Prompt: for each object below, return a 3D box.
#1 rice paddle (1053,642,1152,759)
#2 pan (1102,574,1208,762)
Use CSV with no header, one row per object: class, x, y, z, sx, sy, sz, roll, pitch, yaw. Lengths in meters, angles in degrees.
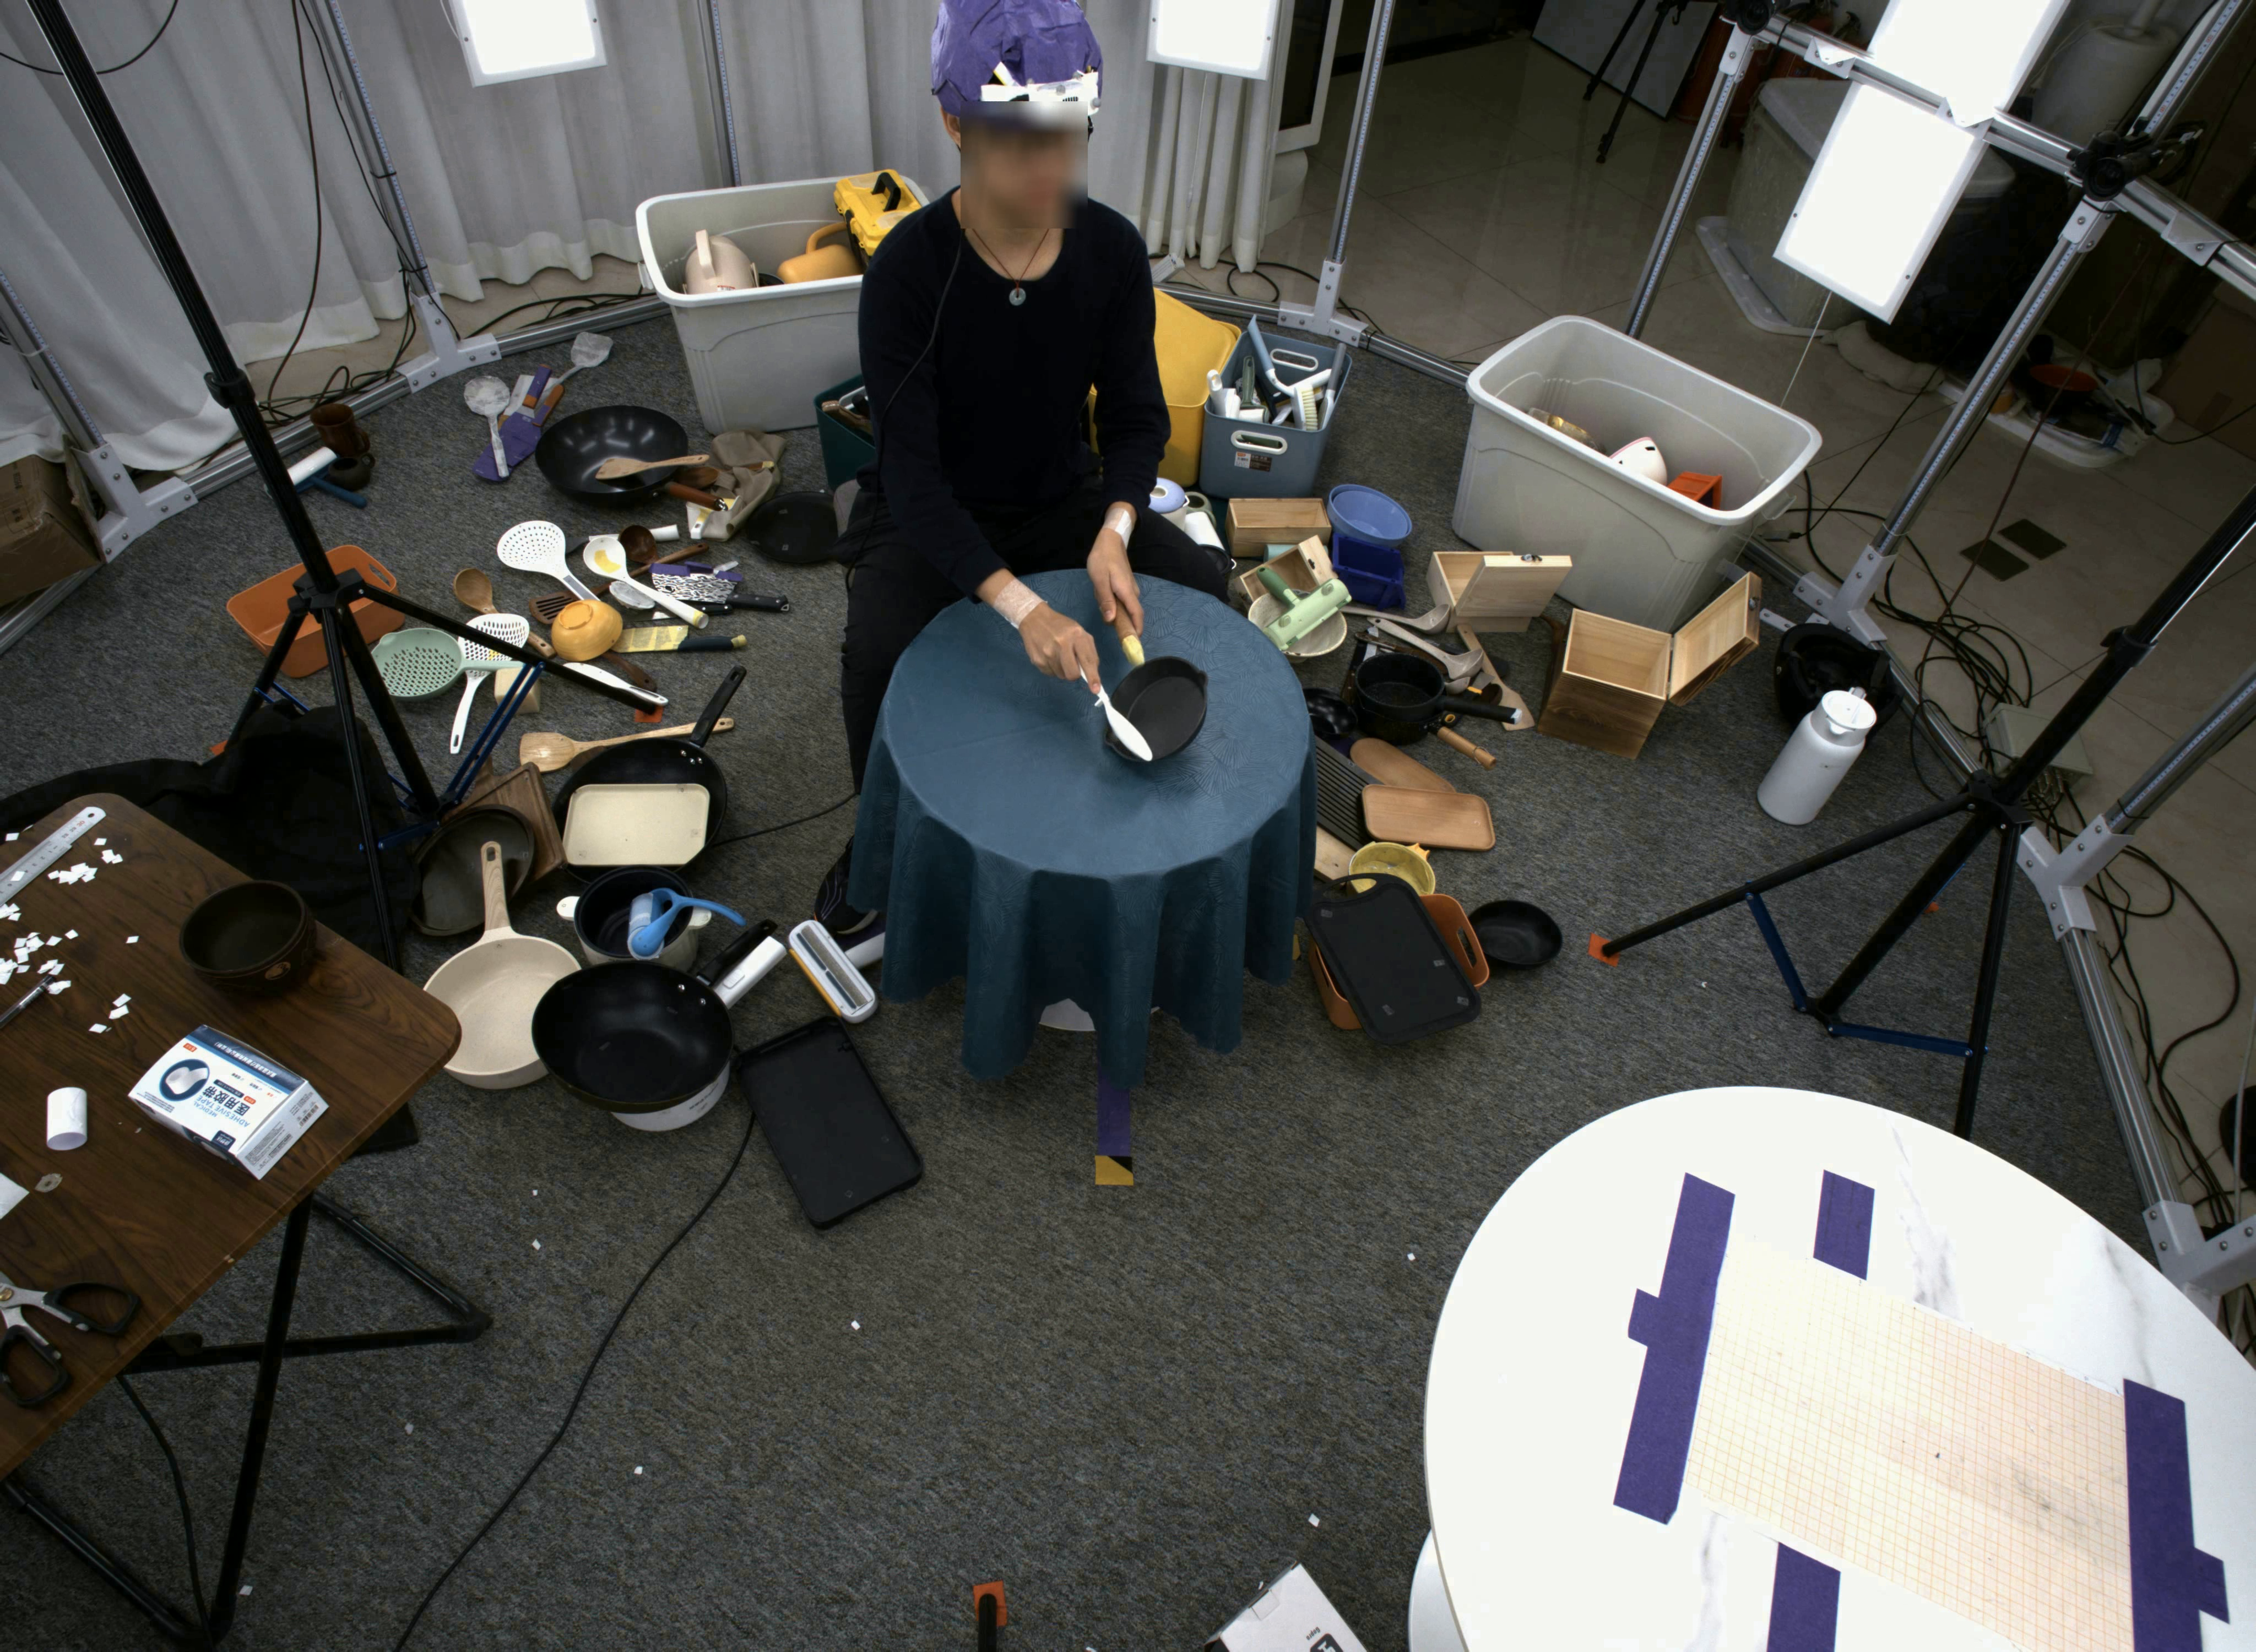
rice paddle,-0.030,-0.166,1.721,0.208,0.029,0.068,52,20,22
pan,0.019,-0.225,1.784,0.168,0.048,0.332,-29,55,18
